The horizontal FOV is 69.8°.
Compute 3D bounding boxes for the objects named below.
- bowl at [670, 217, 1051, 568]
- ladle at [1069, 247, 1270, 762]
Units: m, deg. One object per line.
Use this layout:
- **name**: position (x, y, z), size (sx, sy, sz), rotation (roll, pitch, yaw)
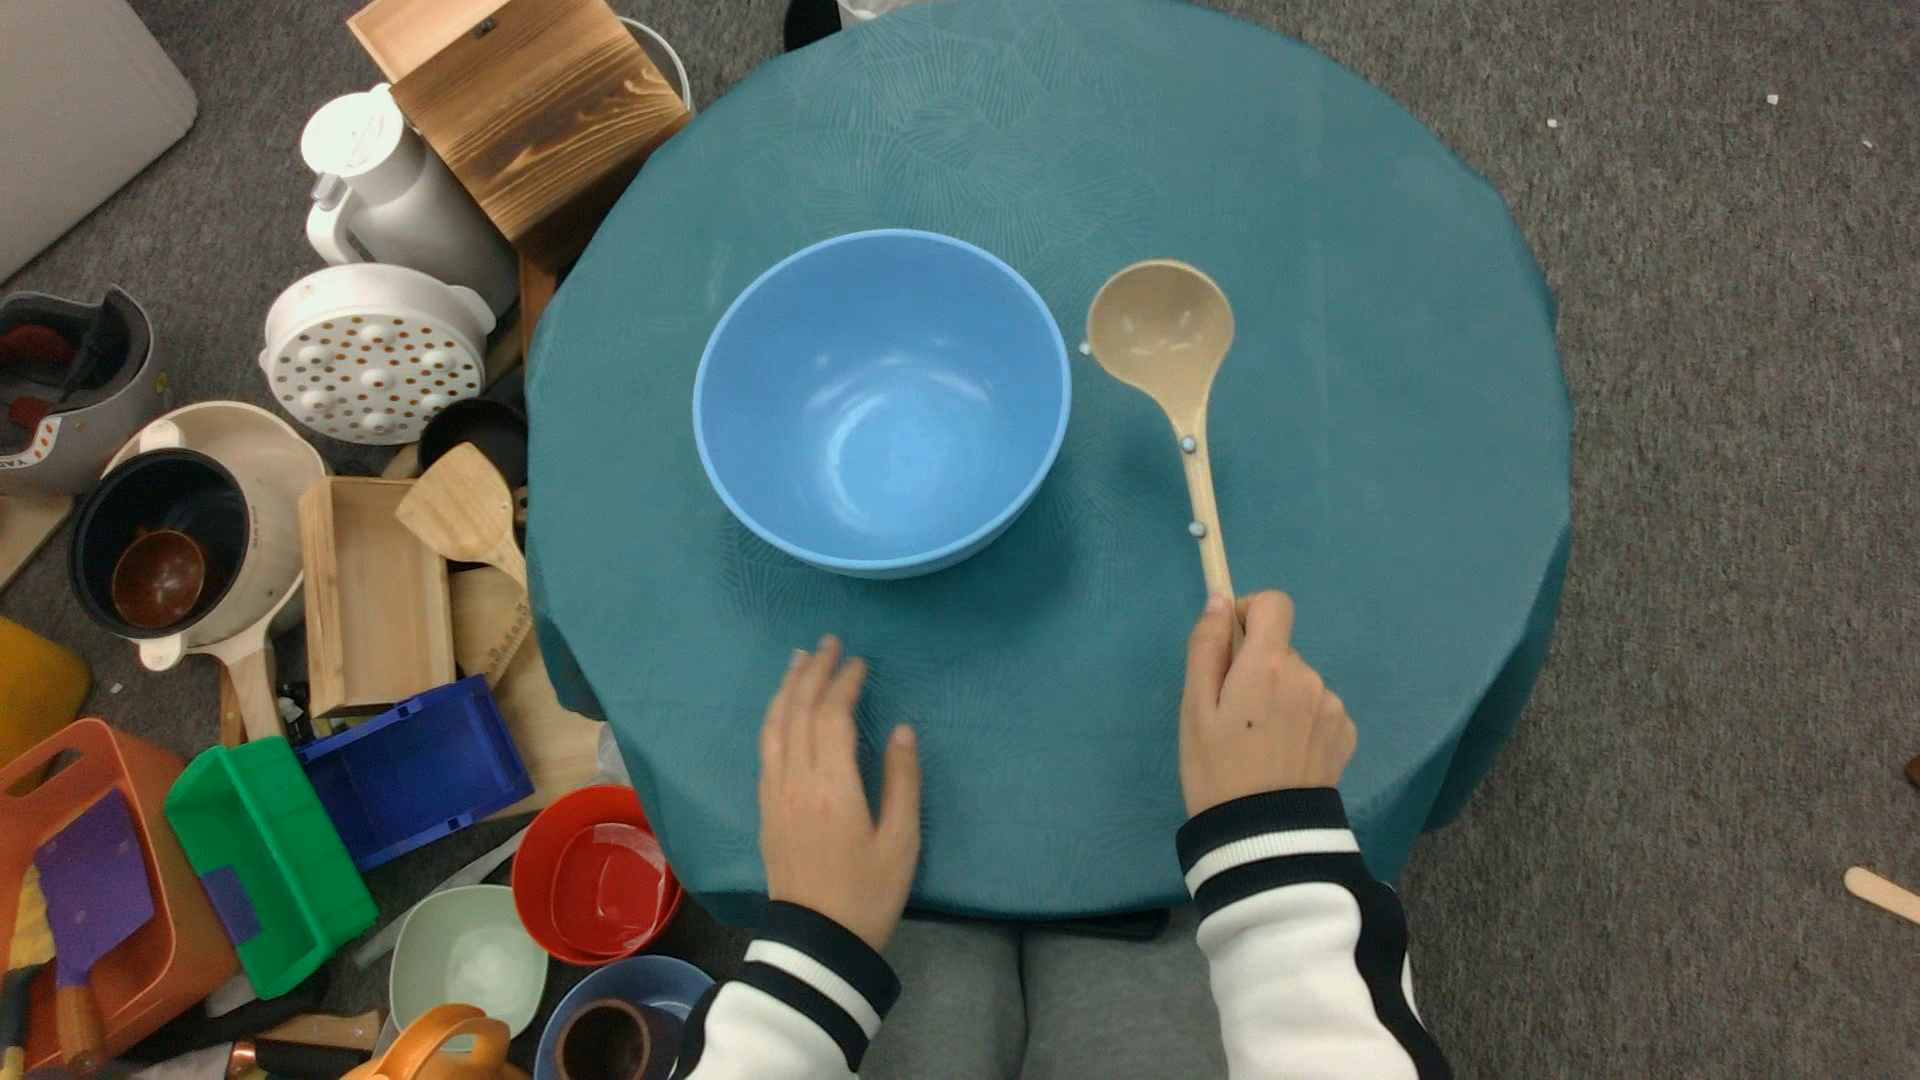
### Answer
- **bowl**: position (-0.050, -0.066, 0.749), size (0.196, 0.095, 0.197), rotation (-1, 69, 2)
- **ladle**: position (0.105, -0.025, 0.654), size (0.072, 0.073, 0.255), rotation (-17, 64, 16)
